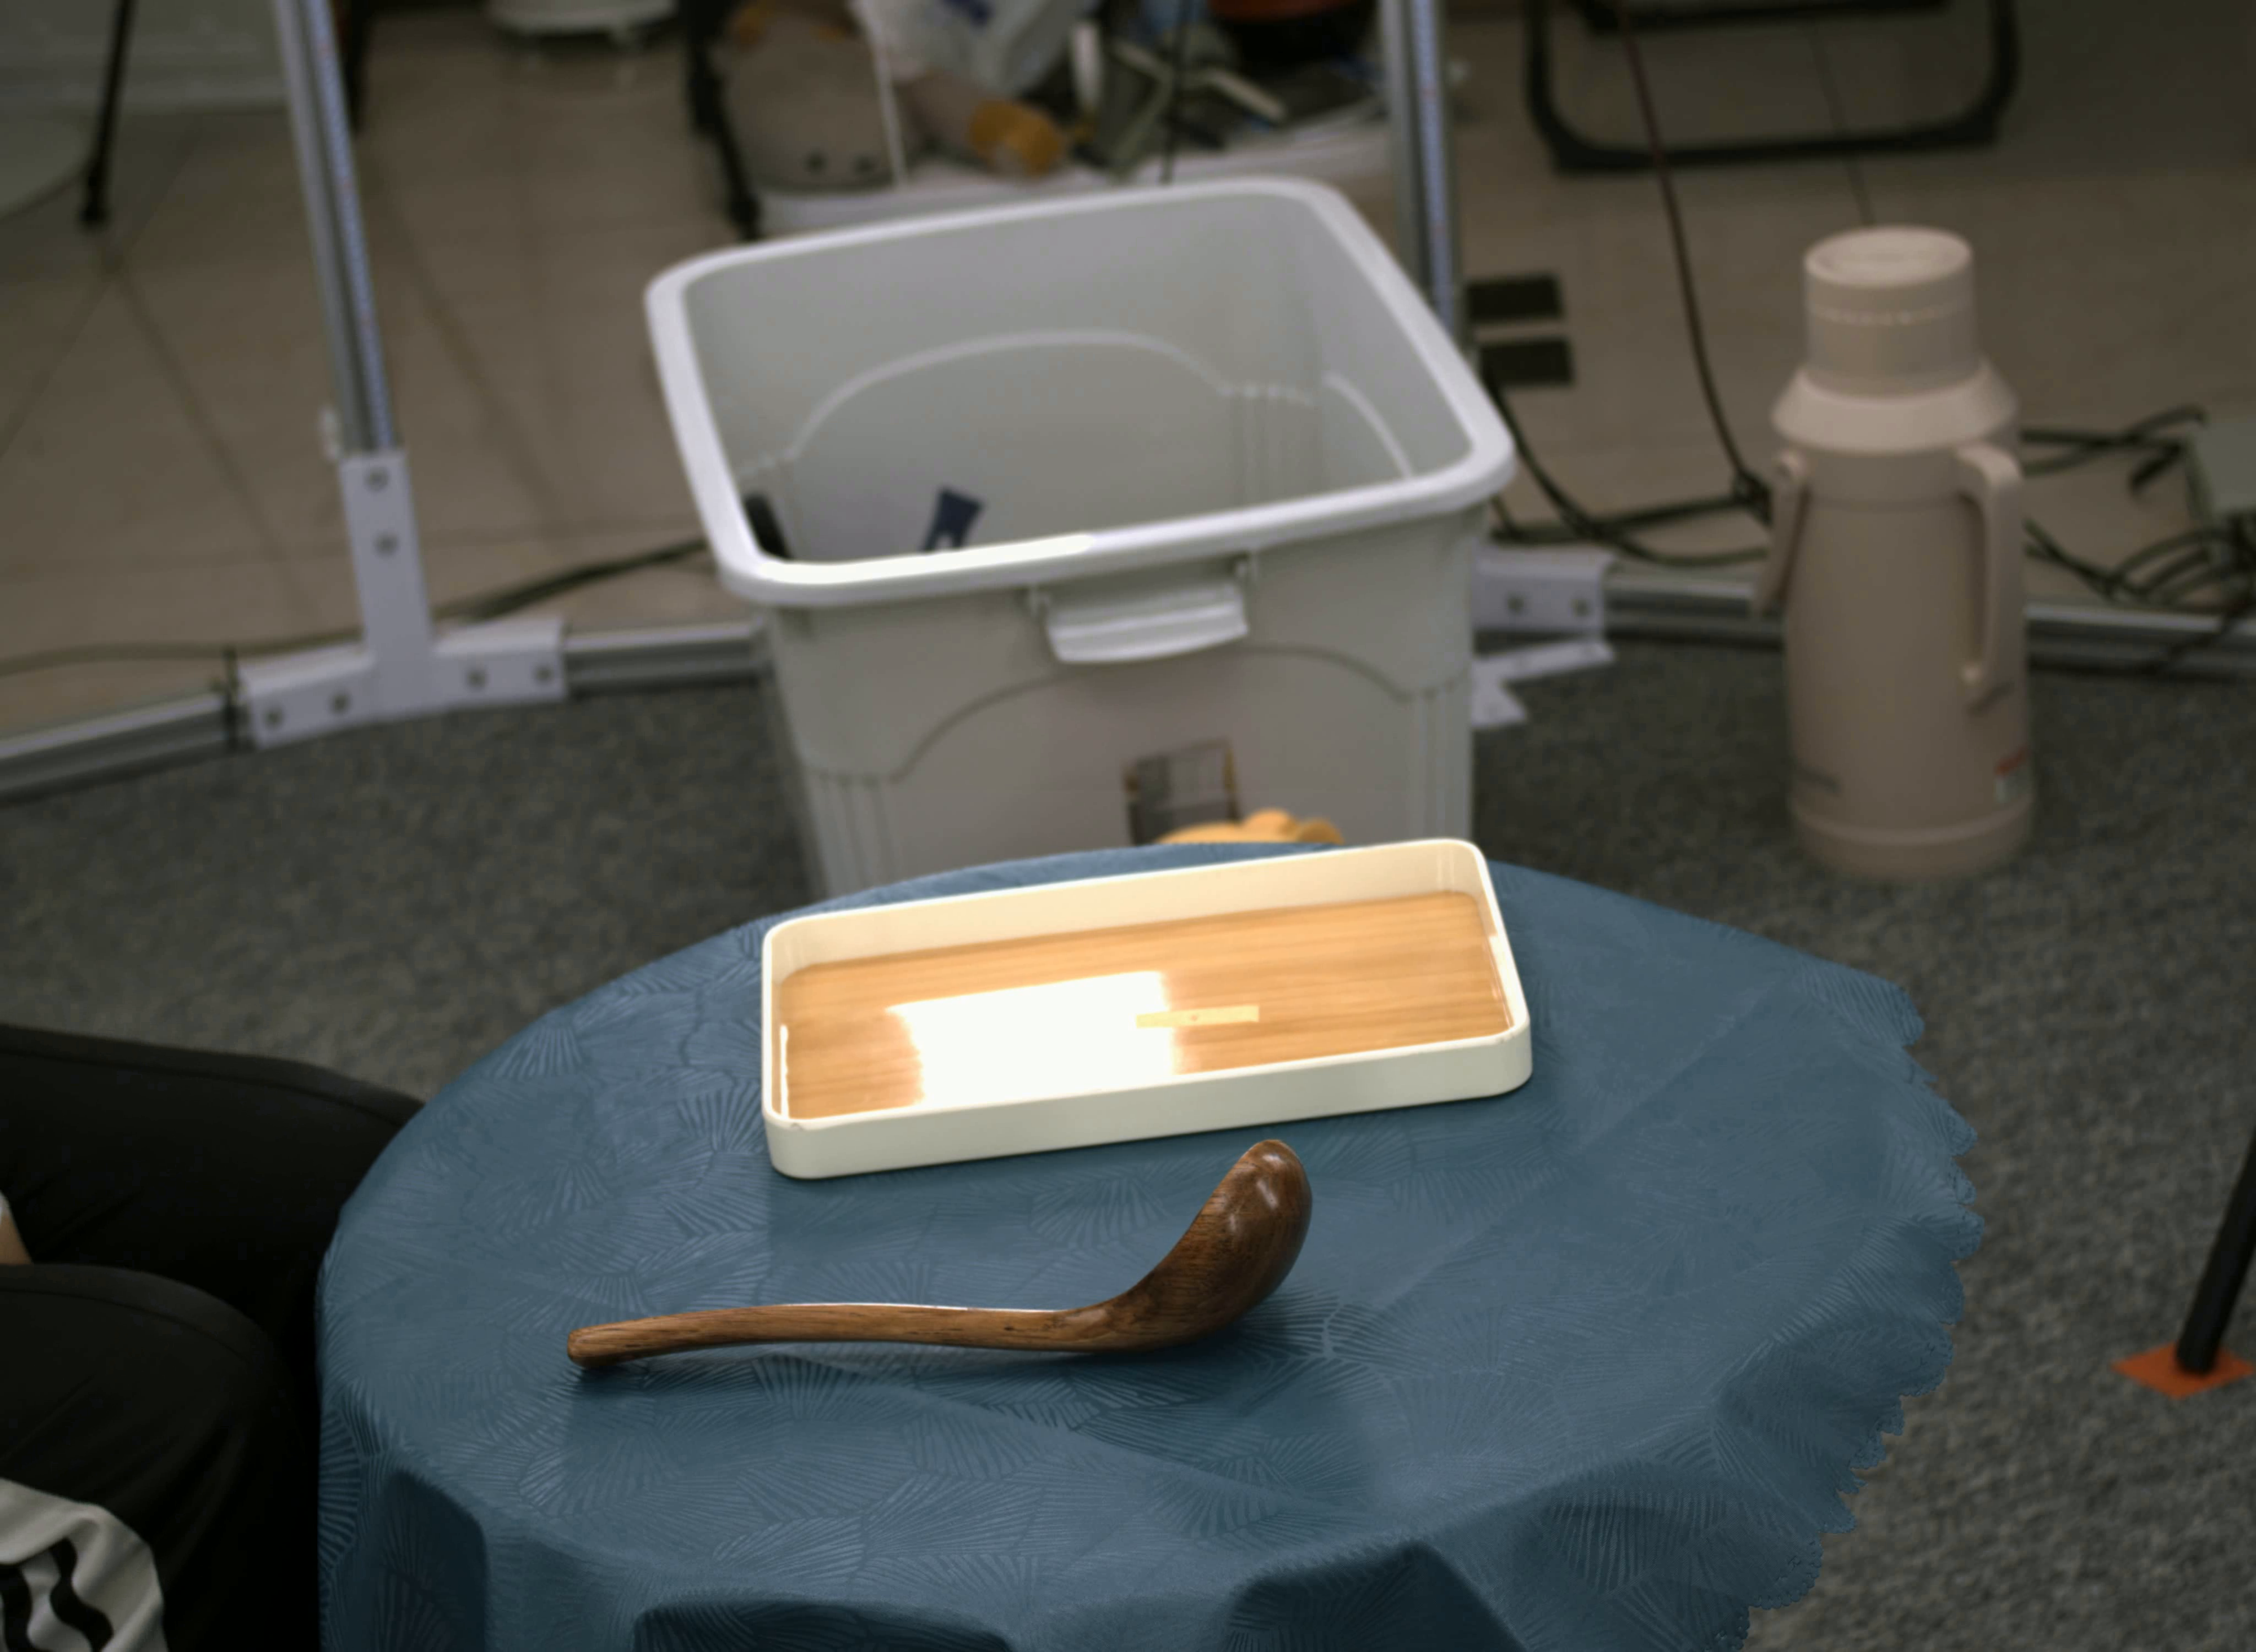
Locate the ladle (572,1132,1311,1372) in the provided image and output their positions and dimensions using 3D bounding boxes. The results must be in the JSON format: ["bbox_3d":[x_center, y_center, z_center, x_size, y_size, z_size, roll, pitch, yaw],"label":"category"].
[{"bbox_3d":[-0.069,0.154,2.052,0.273,0.076,0.082,-3,-16,11],"label":"ladle"}]

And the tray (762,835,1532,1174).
[{"bbox_3d":[0.004,0.070,2.266,0.300,0.028,0.189,-7,25,0],"label":"tray"}]
